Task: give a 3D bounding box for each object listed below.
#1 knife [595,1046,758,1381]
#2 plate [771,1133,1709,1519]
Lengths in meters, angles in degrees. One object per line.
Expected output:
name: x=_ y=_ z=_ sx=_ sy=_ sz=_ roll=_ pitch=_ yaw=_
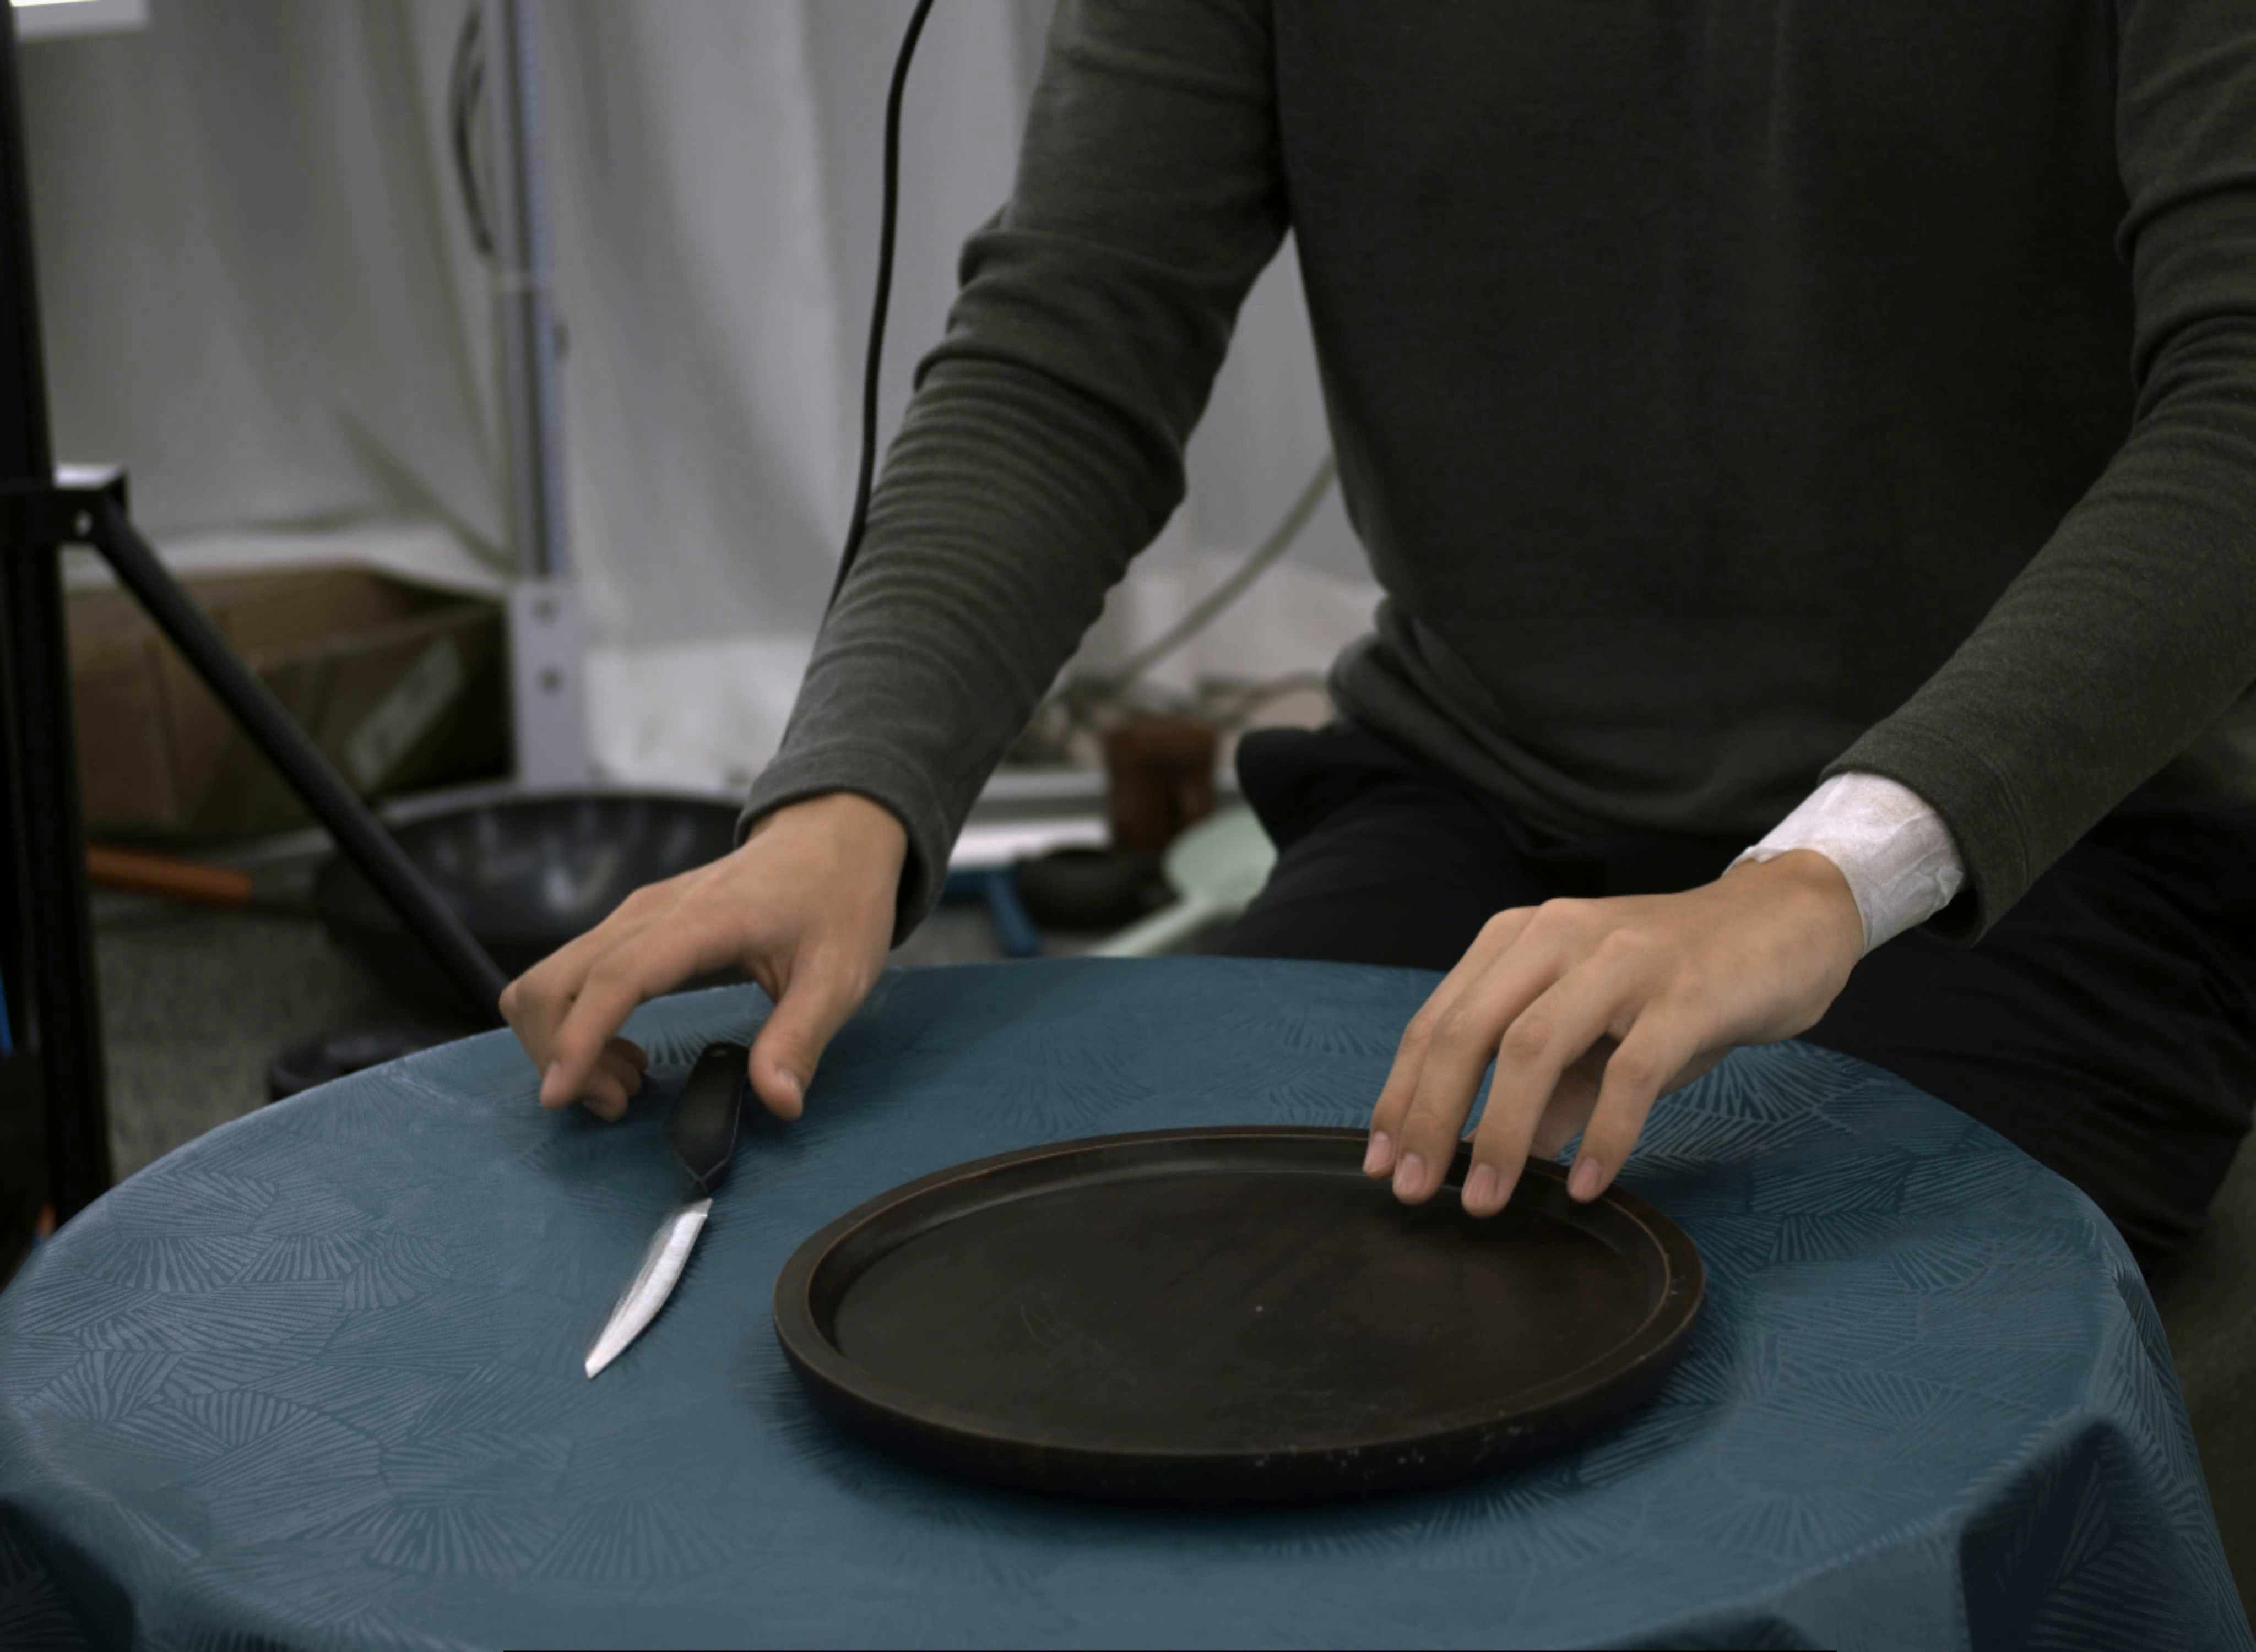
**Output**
knife: x=-0.134 y=0.112 z=1.549 sx=0.024 sy=0.016 sz=0.238 roll=-3 pitch=18 yaw=5
plate: x=0.030 y=0.131 z=1.432 sx=0.253 sy=0.029 sz=0.256 roll=-3 pitch=17 yaw=-1
